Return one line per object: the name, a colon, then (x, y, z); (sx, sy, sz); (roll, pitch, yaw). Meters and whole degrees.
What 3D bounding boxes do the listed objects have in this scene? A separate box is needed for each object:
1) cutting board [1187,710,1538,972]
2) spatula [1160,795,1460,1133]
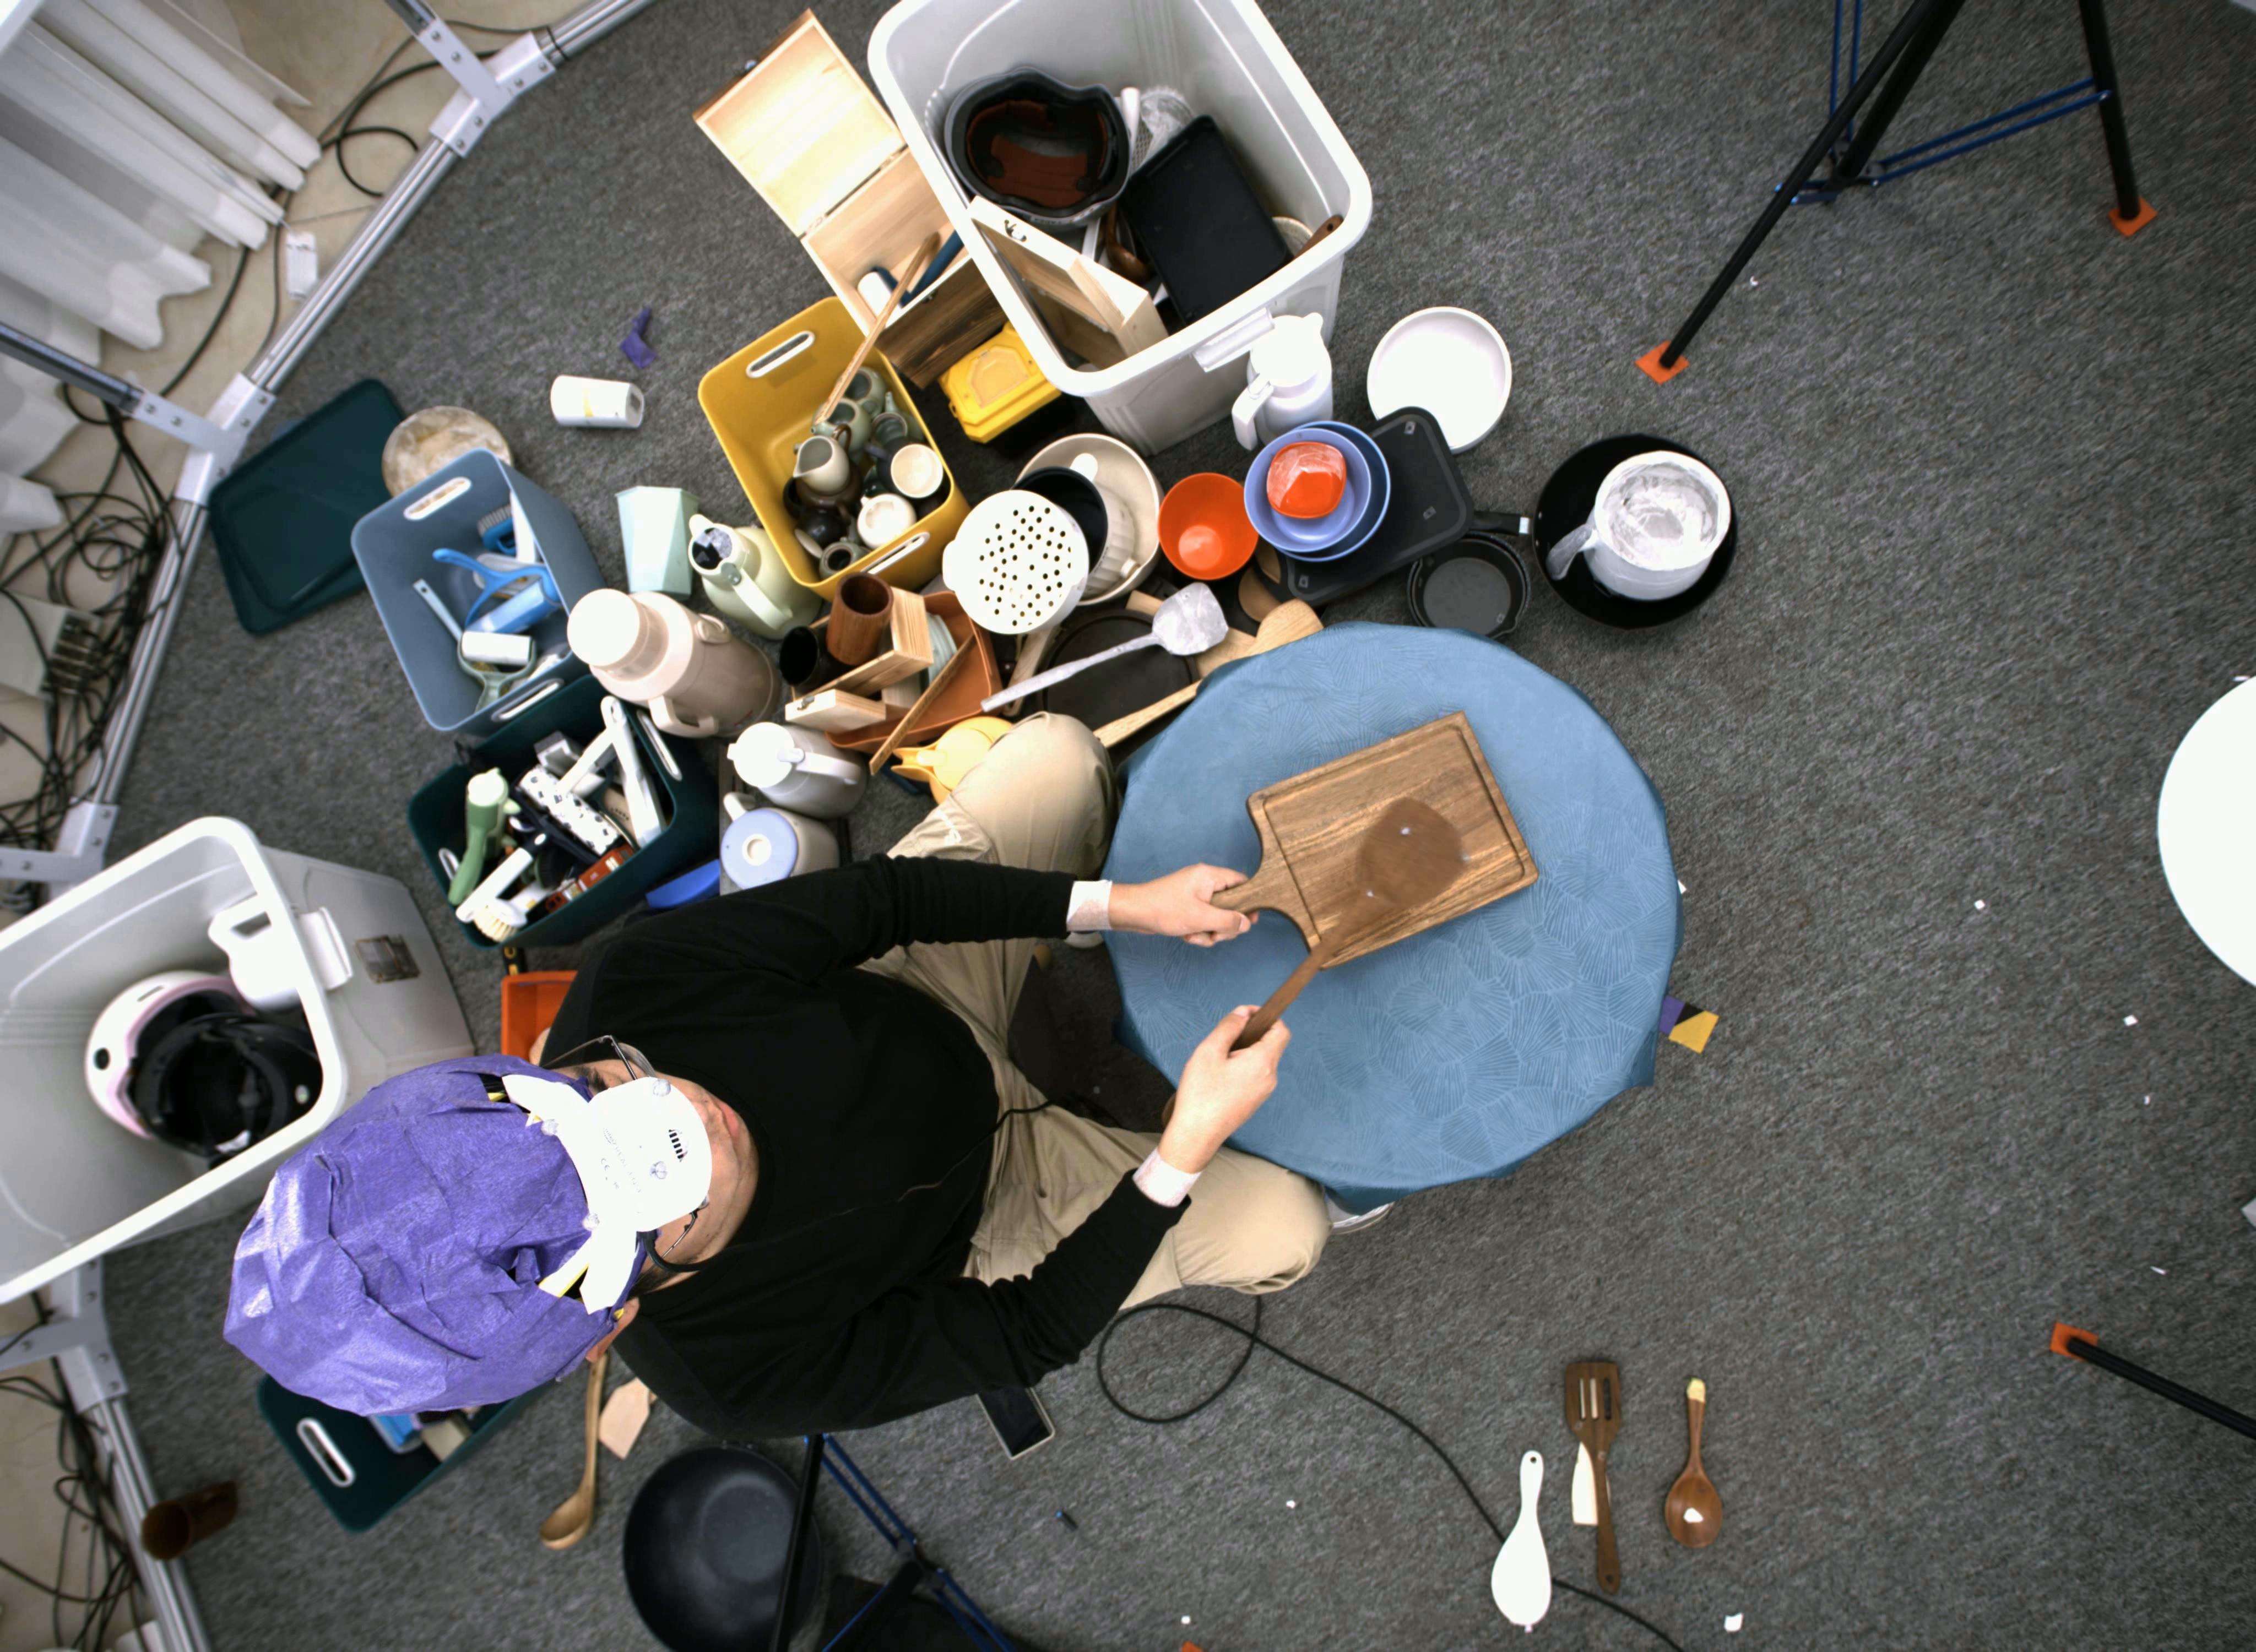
cutting board: (0.223, 0.030, 1.408); (0.351, 0.023, 0.199); (-22, 82, -4)
spatula: (0.159, 0.135, 1.282); (0.096, 0.016, 0.386); (40, 91, -11)
